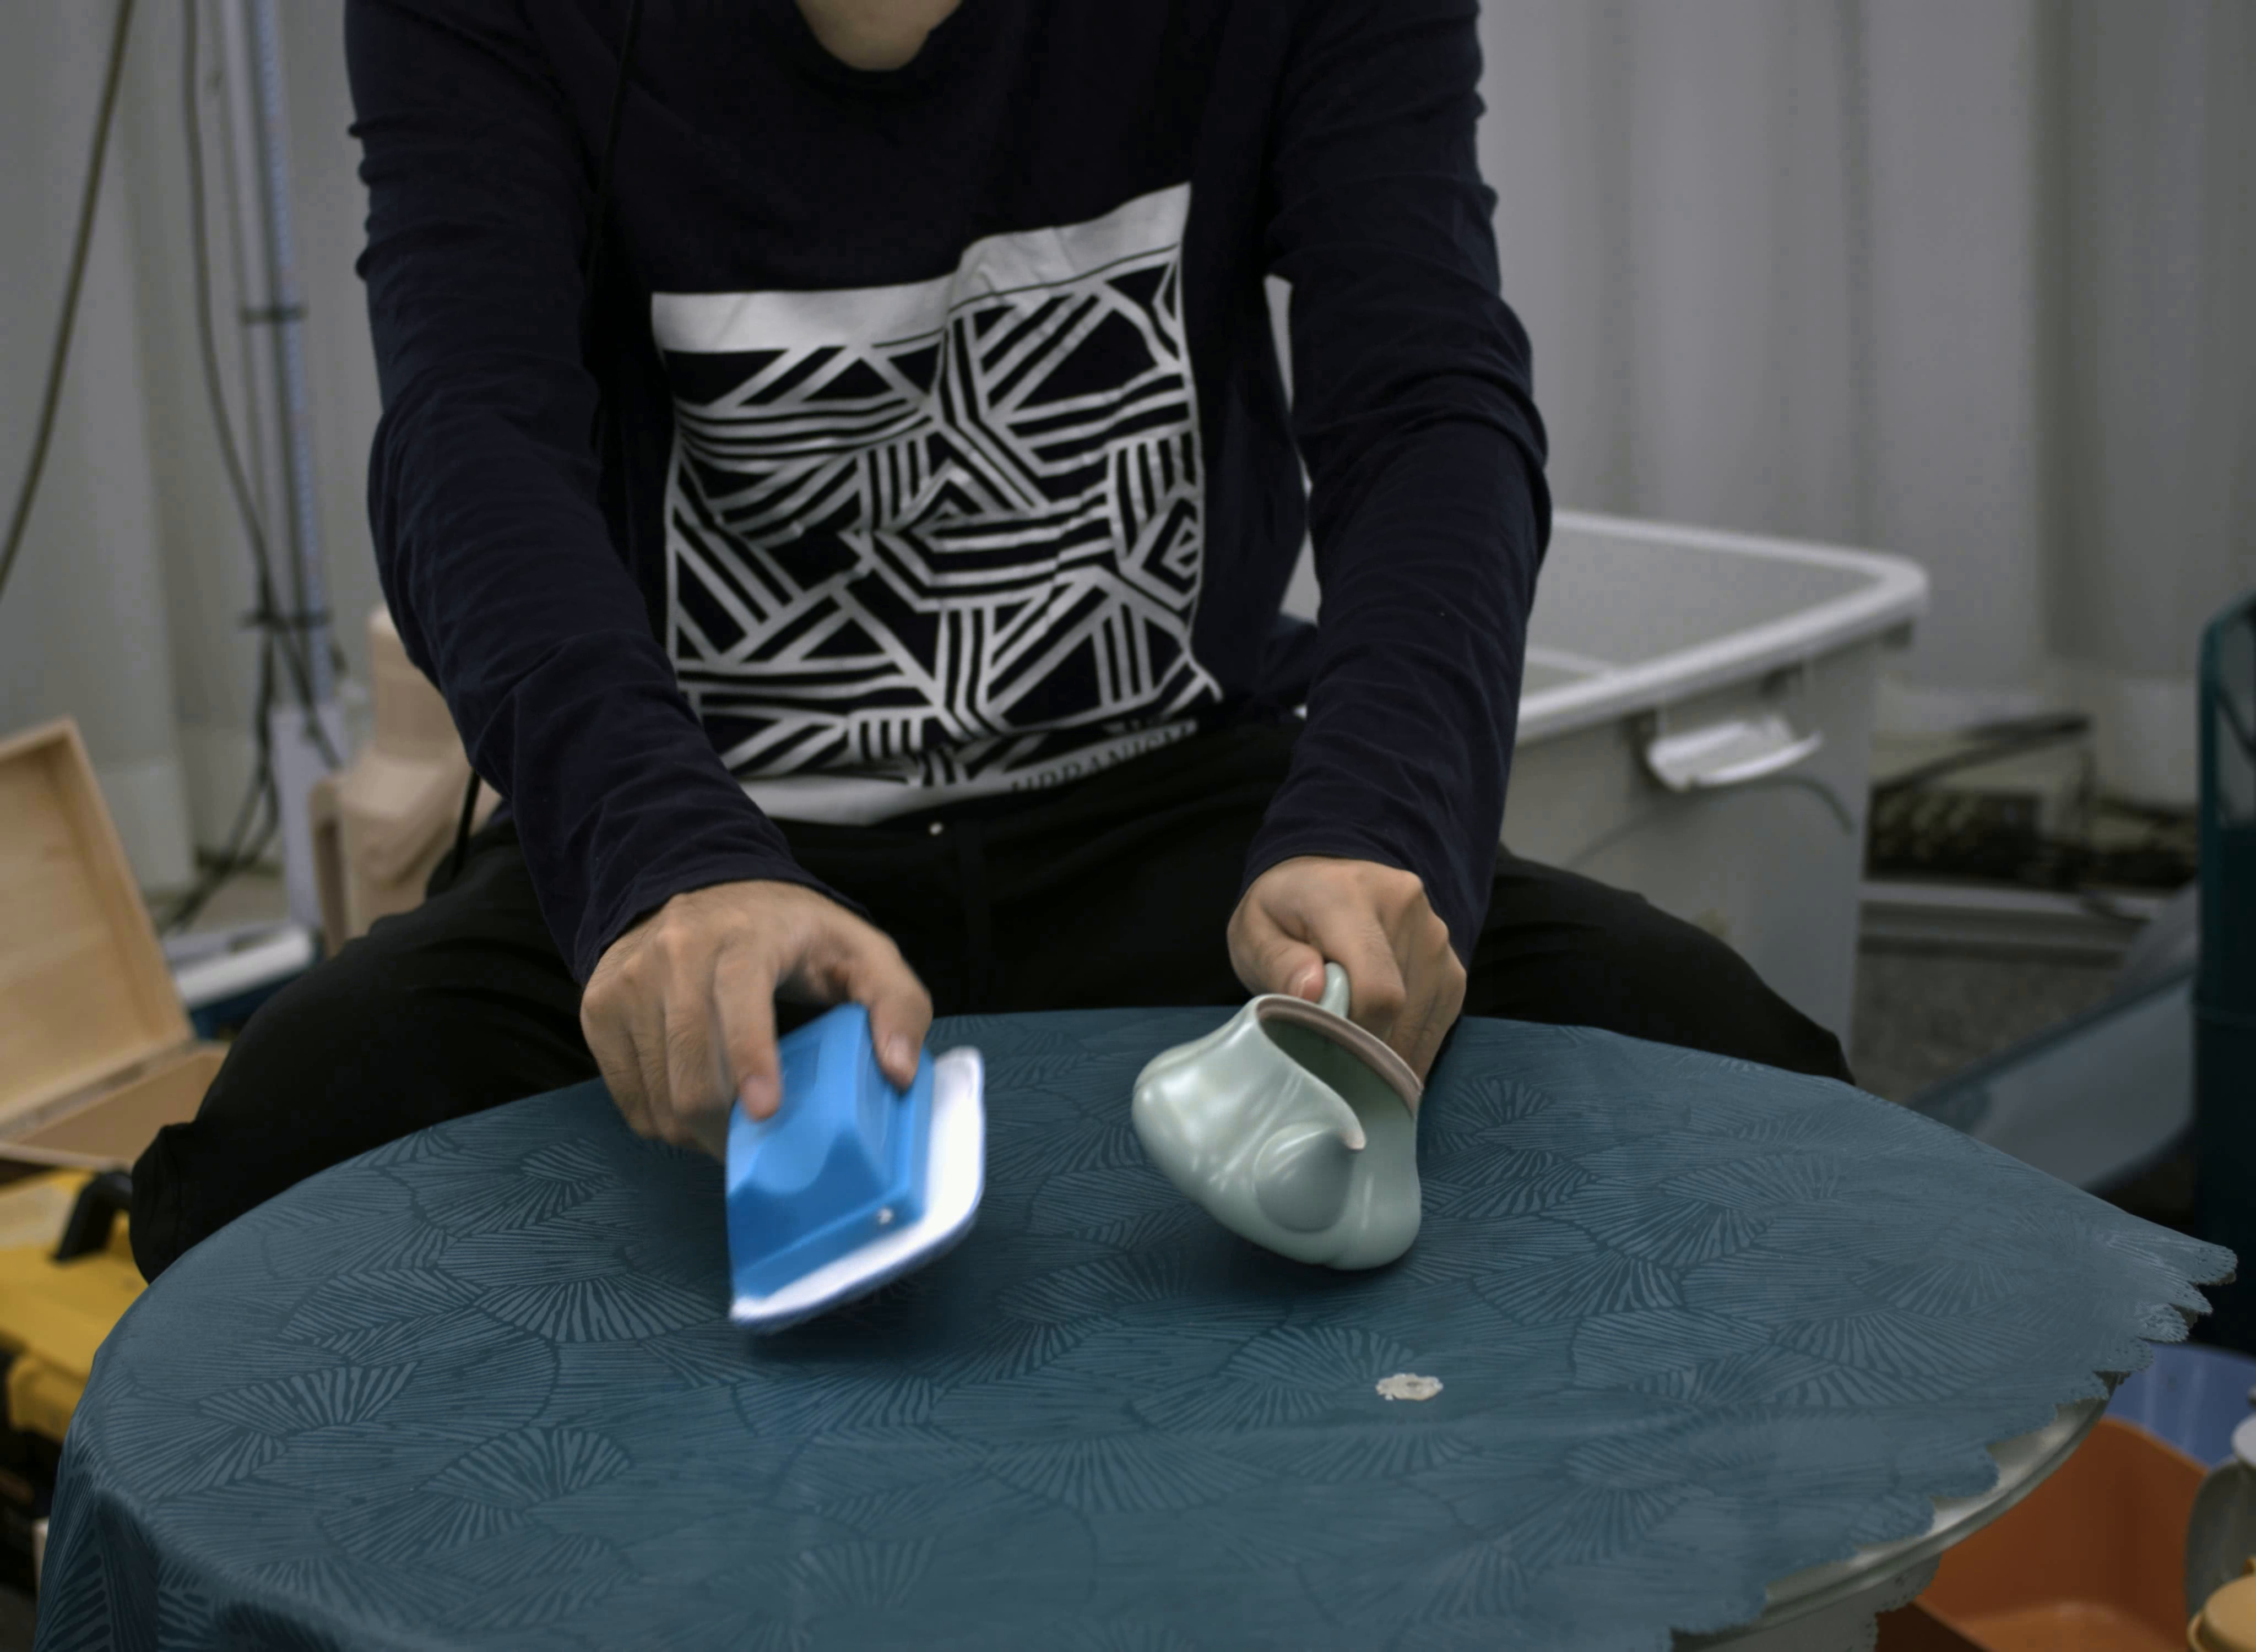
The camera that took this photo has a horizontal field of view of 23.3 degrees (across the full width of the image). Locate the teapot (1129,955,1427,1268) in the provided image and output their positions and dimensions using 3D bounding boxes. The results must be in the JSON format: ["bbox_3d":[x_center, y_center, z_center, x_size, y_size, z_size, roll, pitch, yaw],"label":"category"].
[{"bbox_3d":[0.050,0.088,1.646,0.095,0.061,0.138,22,21,-9],"label":"teapot"}]

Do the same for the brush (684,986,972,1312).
[{"bbox_3d":[-0.094,0.093,1.637,0.083,0.055,0.145,-19,20,9],"label":"brush"}]
